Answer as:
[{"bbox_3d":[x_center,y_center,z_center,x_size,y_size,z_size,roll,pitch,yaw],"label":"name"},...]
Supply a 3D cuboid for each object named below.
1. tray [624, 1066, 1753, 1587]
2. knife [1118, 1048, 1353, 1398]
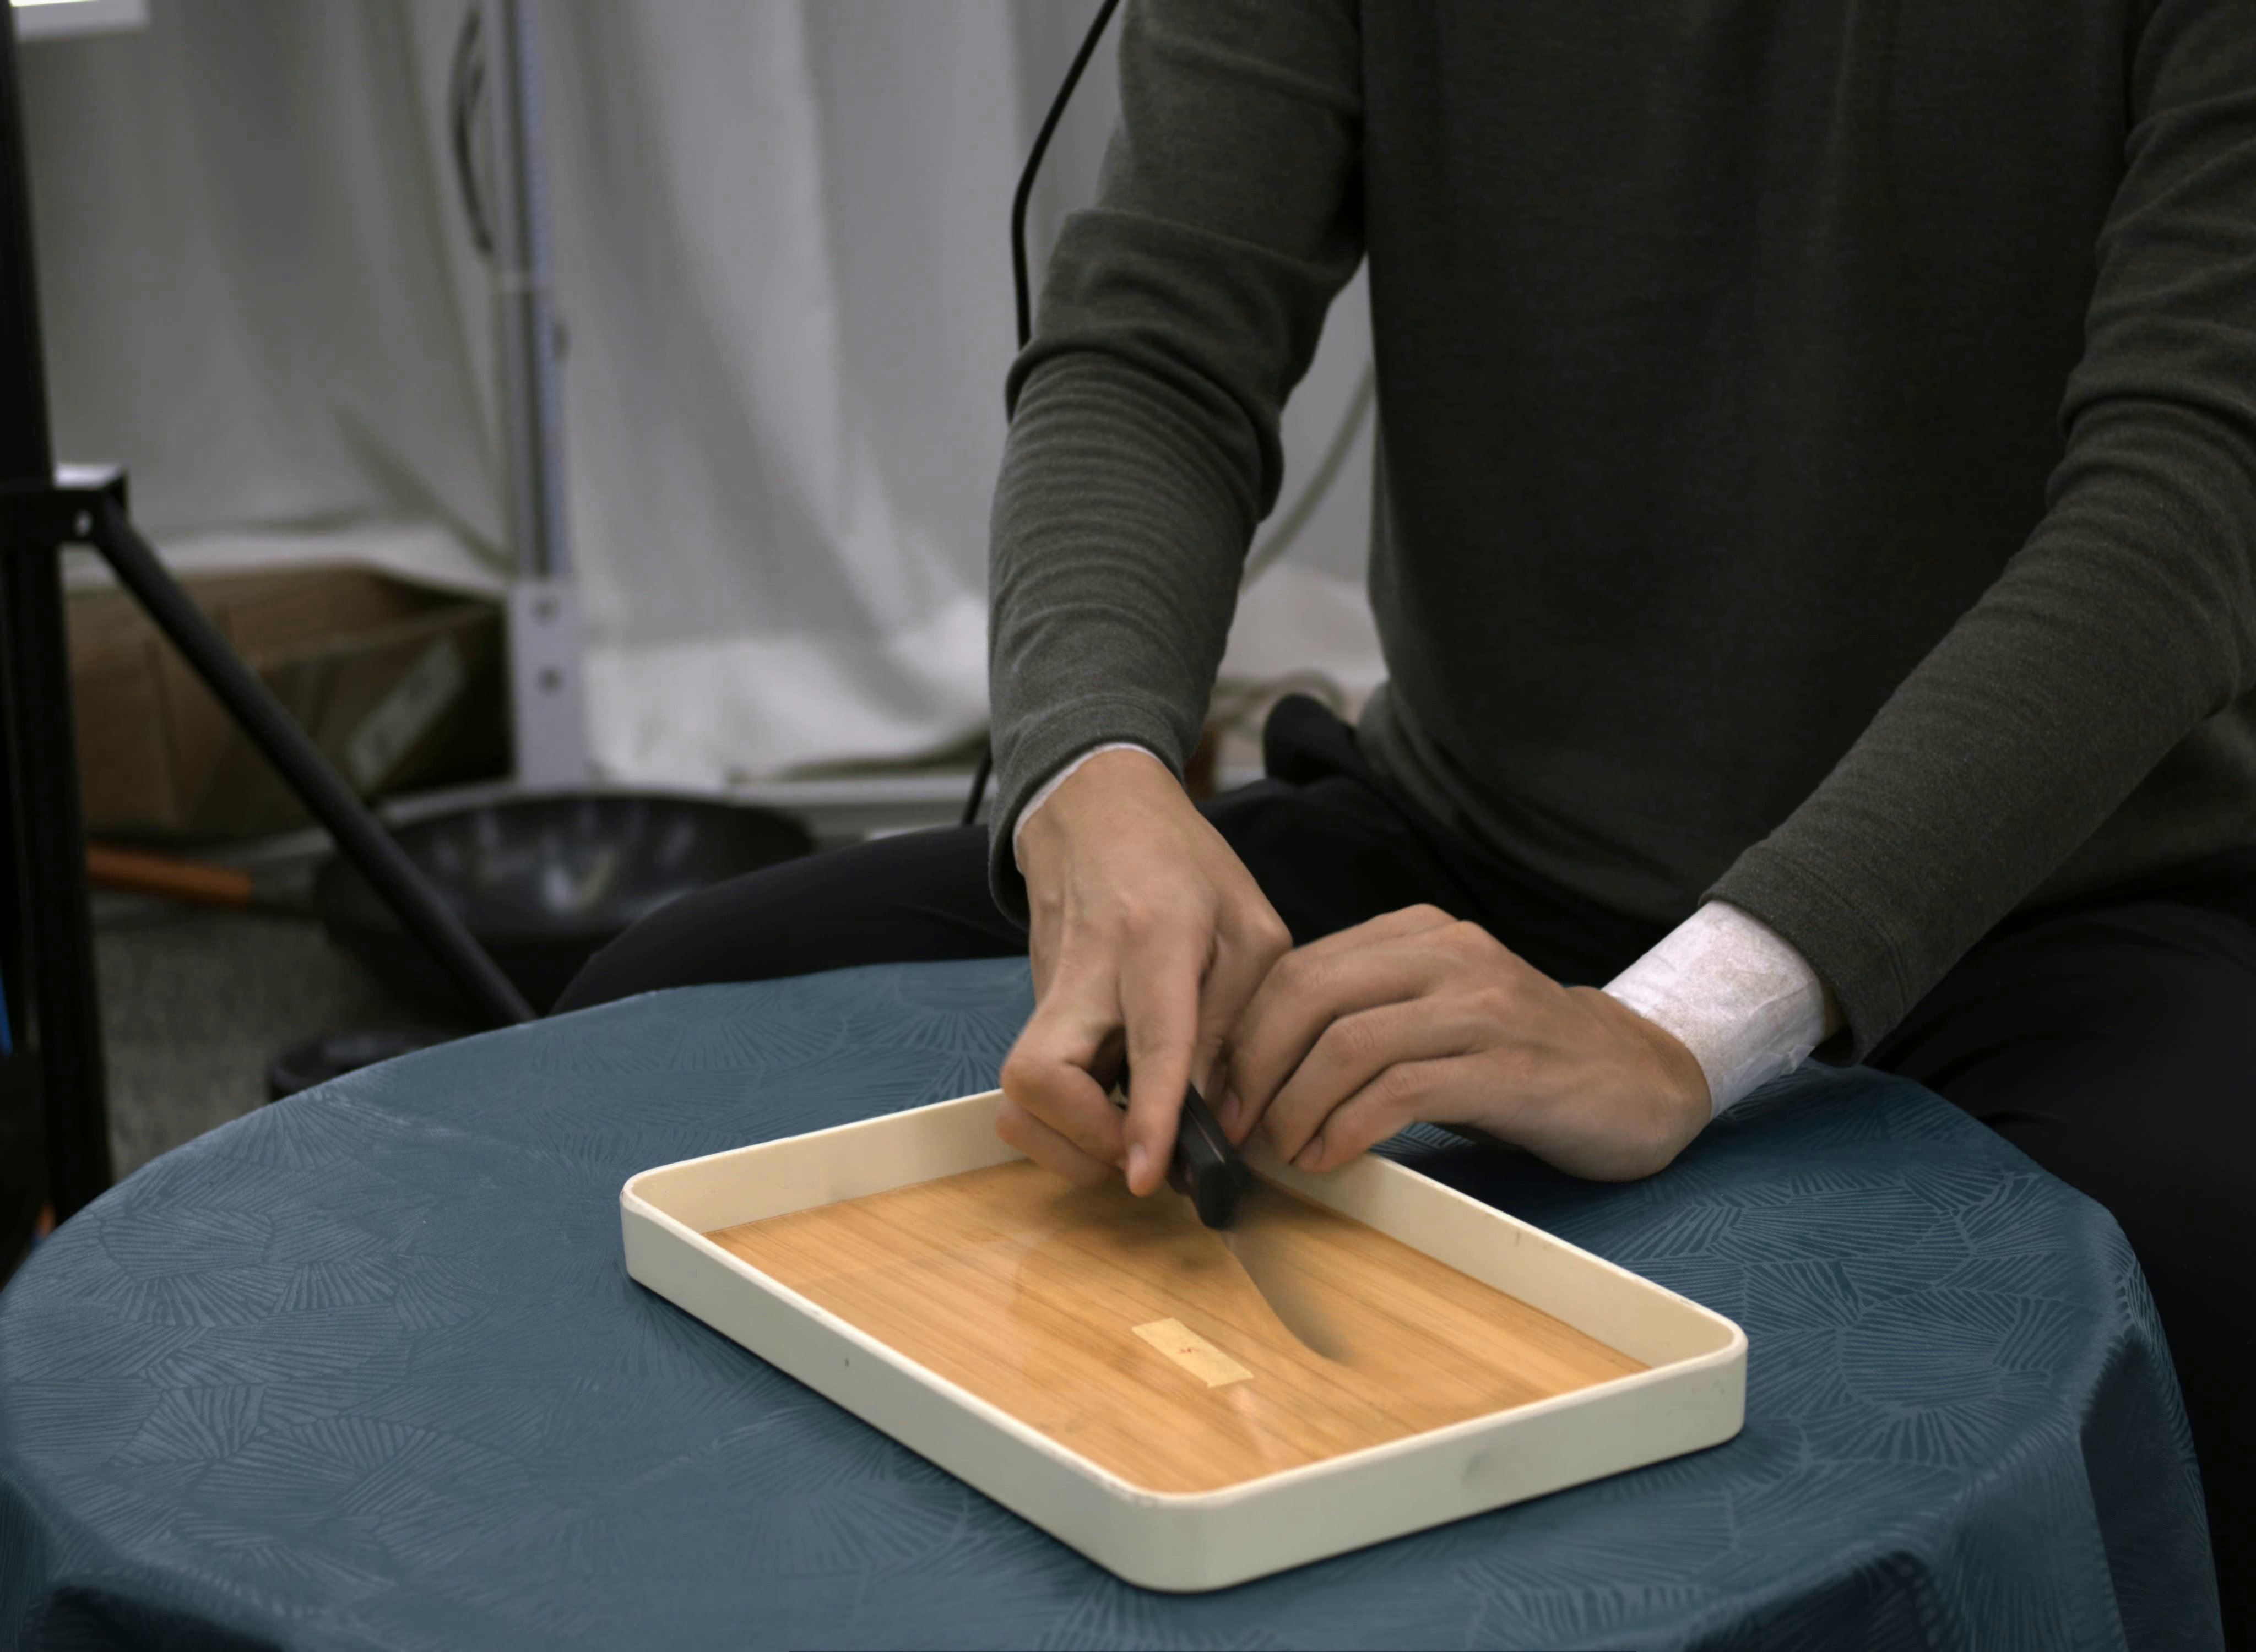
[{"bbox_3d":[0.010,0.129,1.438,0.187,0.027,0.307,-10,18,-29],"label":"tray"},{"bbox_3d":[0.030,0.106,1.452,0.016,0.024,0.241,-2,18,-13],"label":"knife"}]
